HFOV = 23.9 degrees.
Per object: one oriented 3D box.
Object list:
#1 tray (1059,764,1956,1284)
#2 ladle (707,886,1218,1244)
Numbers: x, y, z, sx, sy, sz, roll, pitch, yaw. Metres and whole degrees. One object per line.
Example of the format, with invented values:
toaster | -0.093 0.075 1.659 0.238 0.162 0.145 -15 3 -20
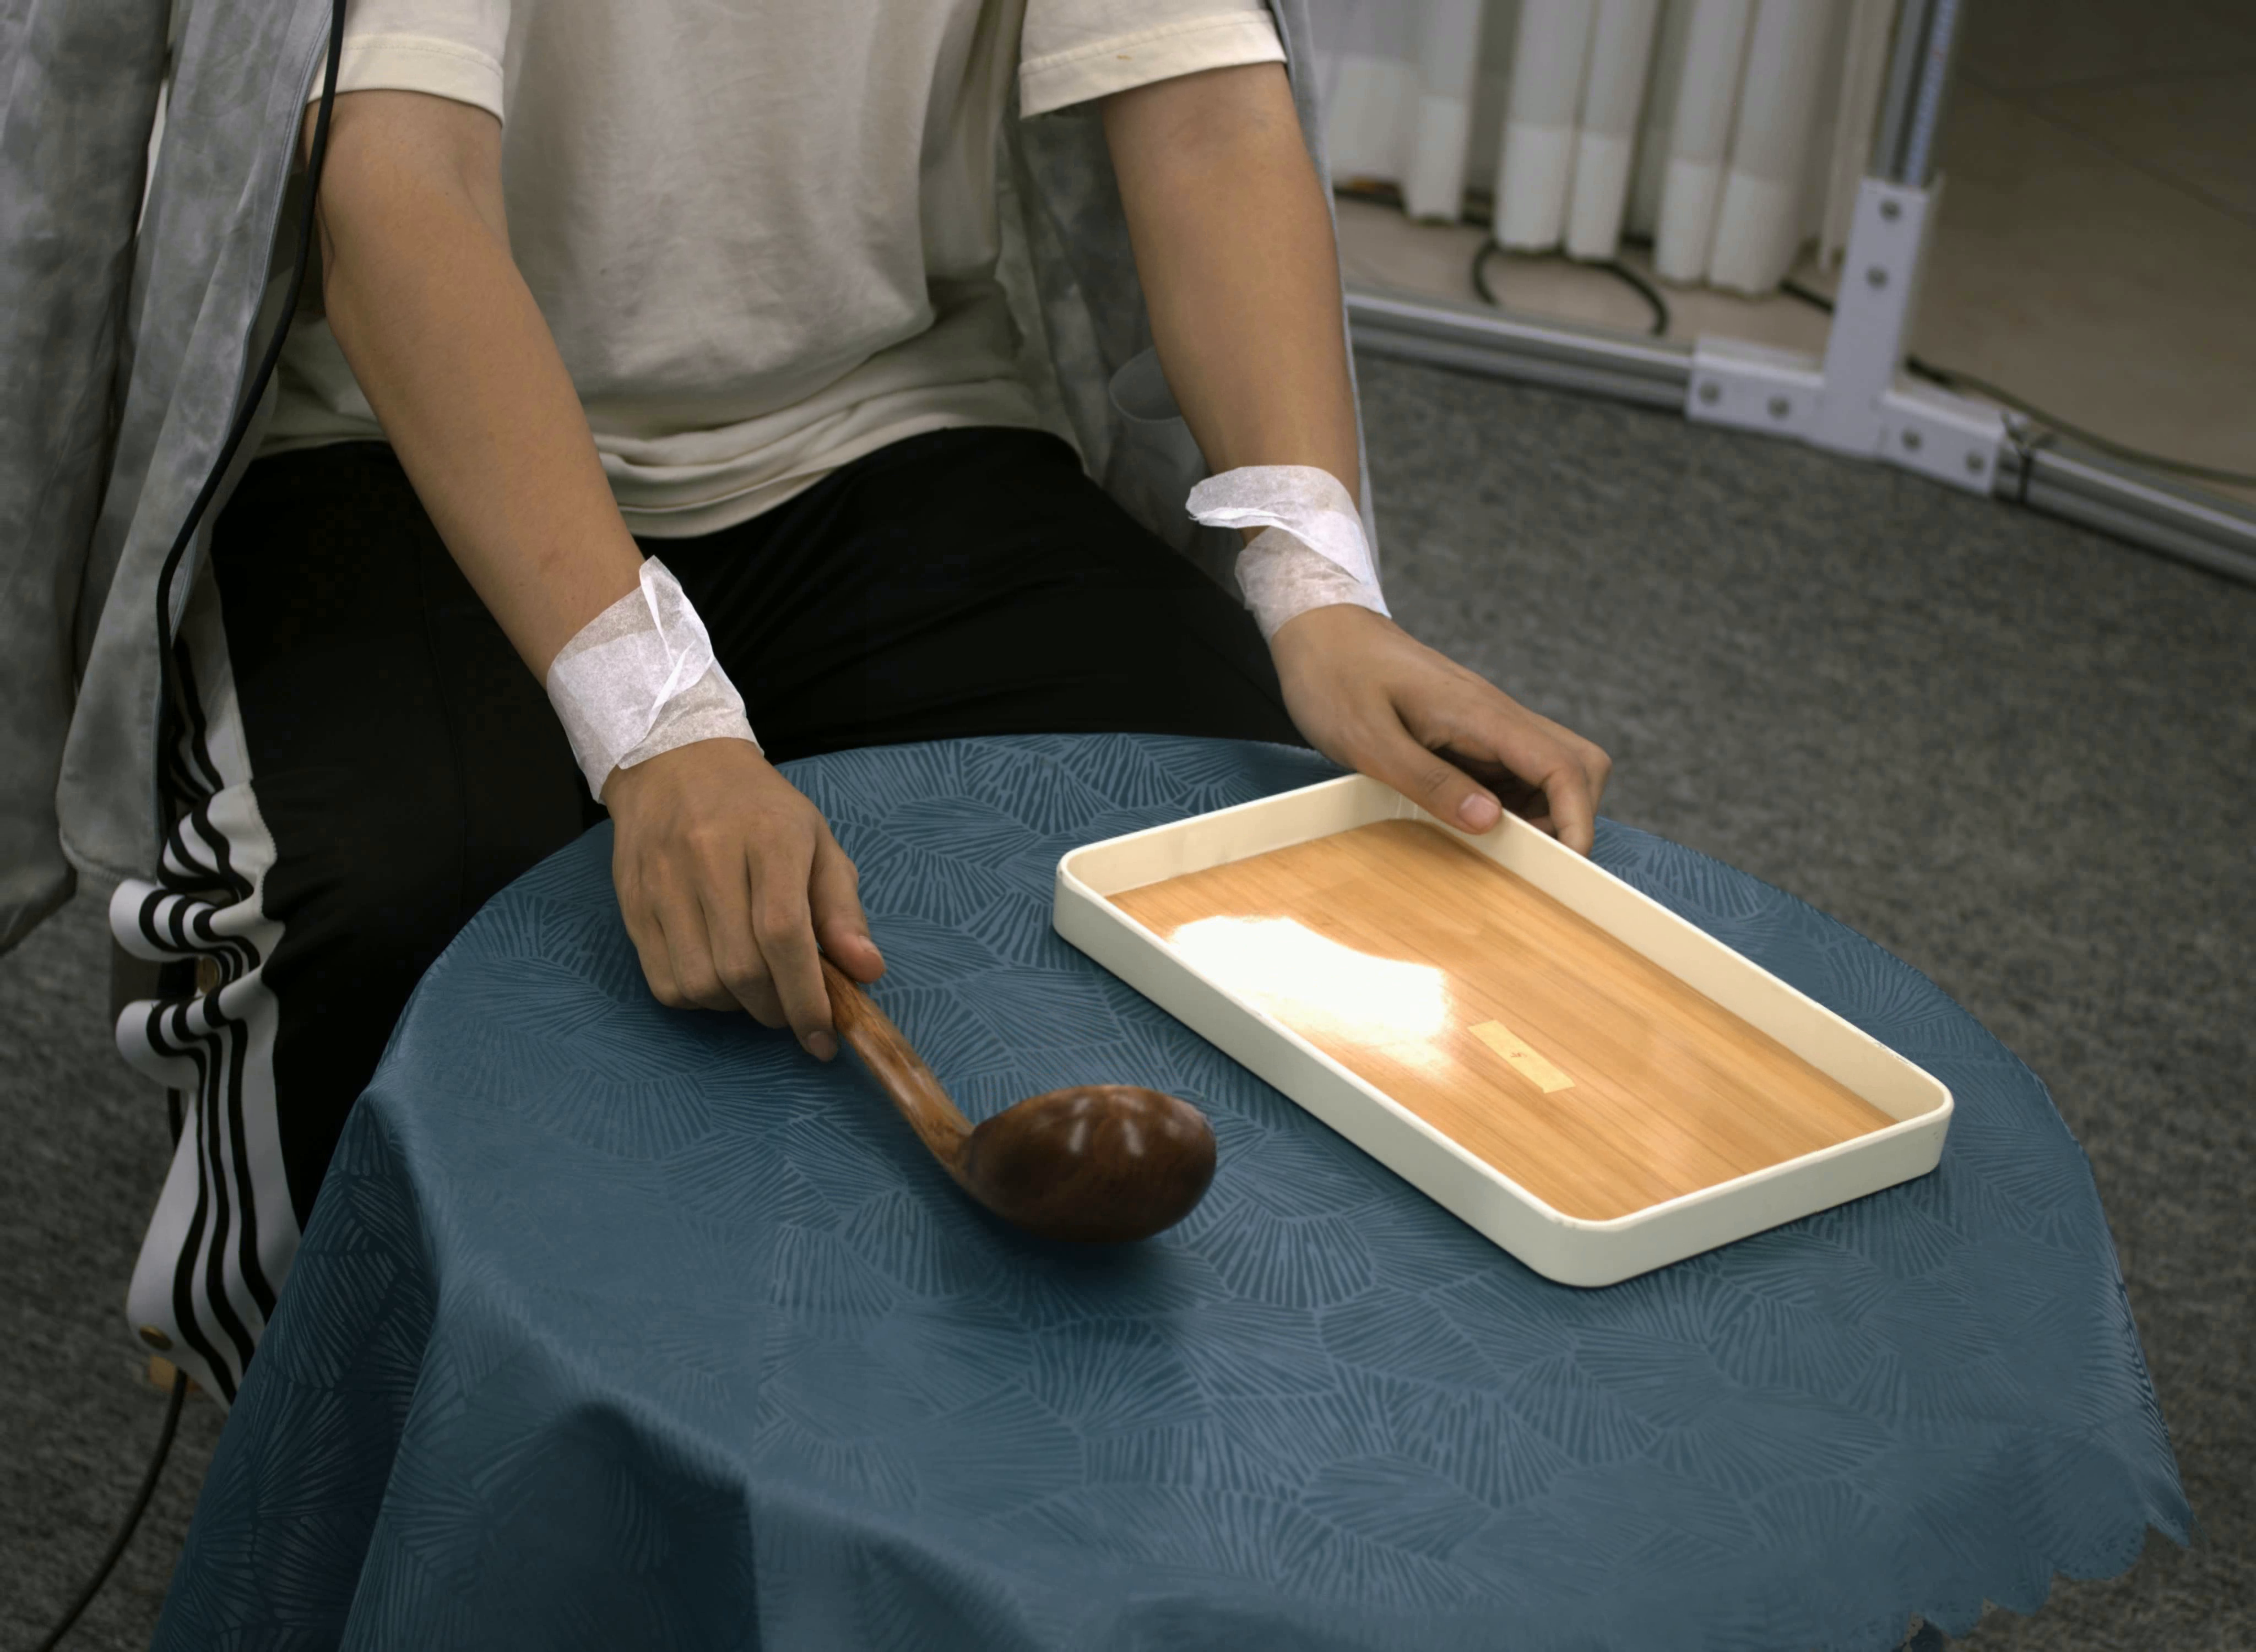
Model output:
tray | 0.132 0.066 1.919 0.190 0.027 0.303 -15 34 -35
ladle | -0.062 0.063 1.827 0.081 0.076 0.276 41 1 -40
